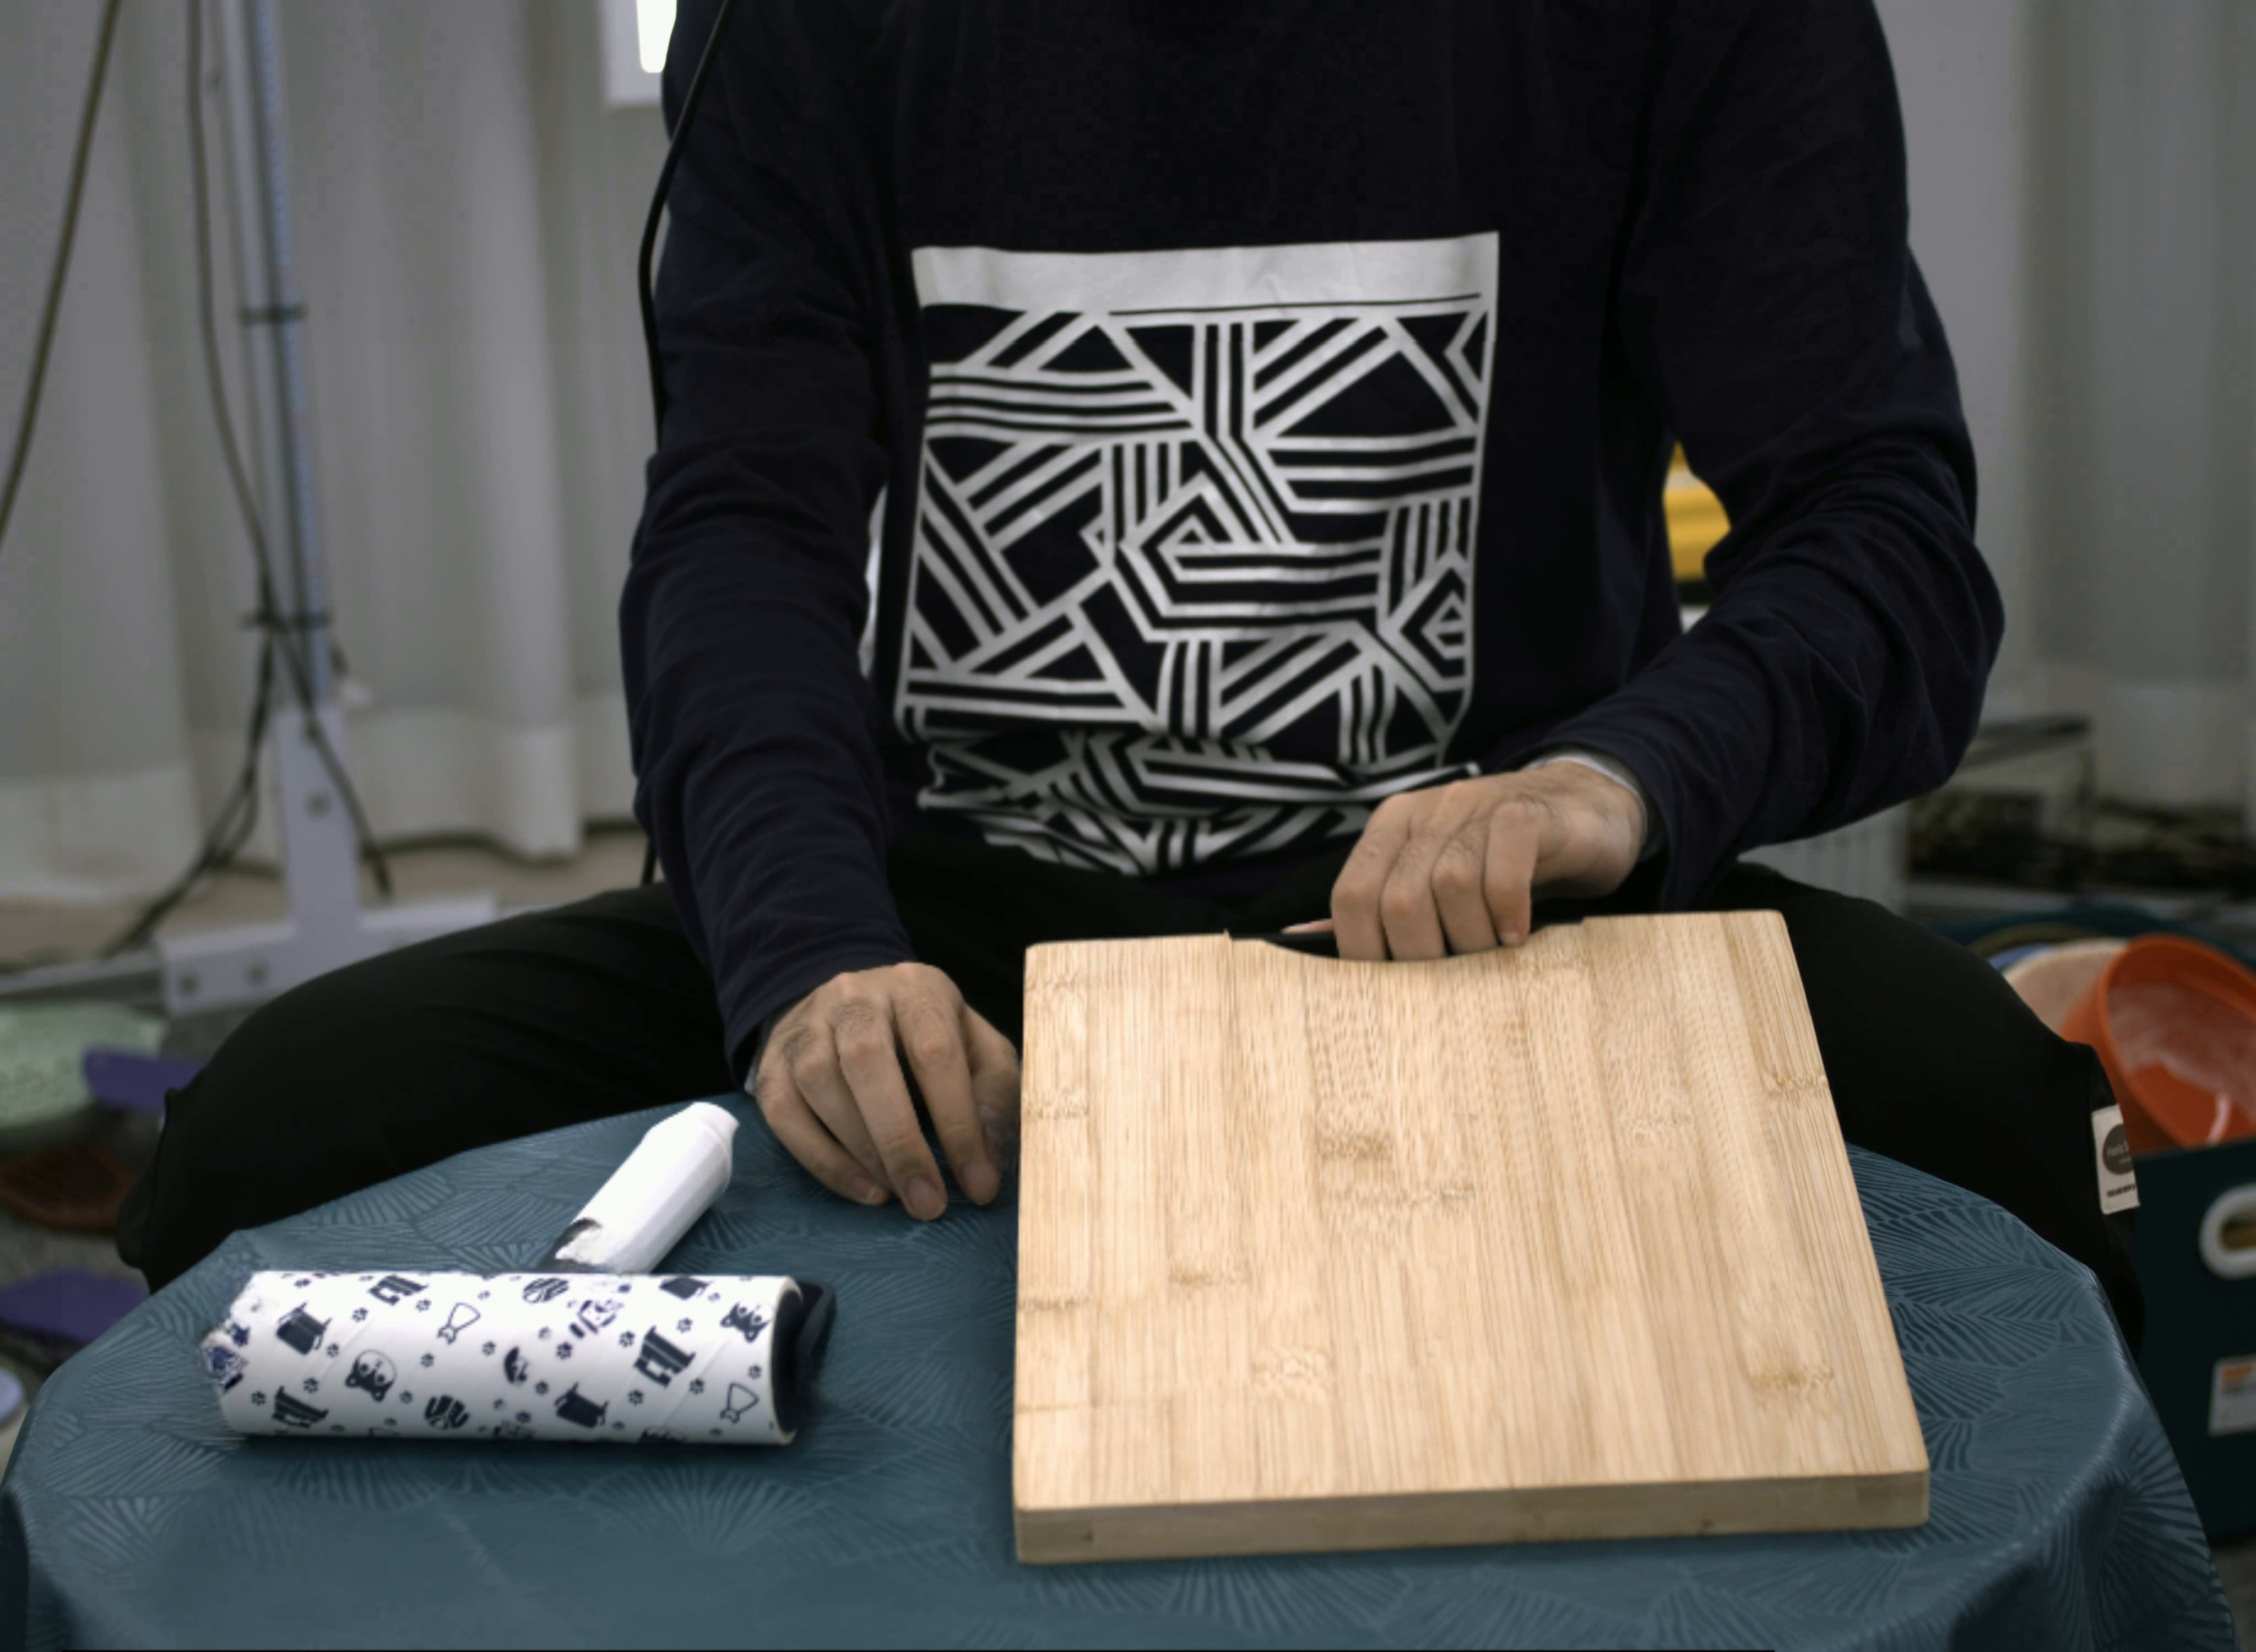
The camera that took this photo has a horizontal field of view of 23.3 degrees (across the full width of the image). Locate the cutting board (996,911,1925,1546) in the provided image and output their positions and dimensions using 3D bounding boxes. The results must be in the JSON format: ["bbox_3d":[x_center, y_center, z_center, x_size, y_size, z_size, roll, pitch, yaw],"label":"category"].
[{"bbox_3d":[0.088,0.110,1.579,0.250,0.023,0.352,-2,24,0],"label":"cutting board"}]

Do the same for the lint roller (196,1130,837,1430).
[{"bbox_3d":[-0.156,0.125,1.628,0.176,0.050,0.248,-2,12,10],"label":"lint roller"}]
